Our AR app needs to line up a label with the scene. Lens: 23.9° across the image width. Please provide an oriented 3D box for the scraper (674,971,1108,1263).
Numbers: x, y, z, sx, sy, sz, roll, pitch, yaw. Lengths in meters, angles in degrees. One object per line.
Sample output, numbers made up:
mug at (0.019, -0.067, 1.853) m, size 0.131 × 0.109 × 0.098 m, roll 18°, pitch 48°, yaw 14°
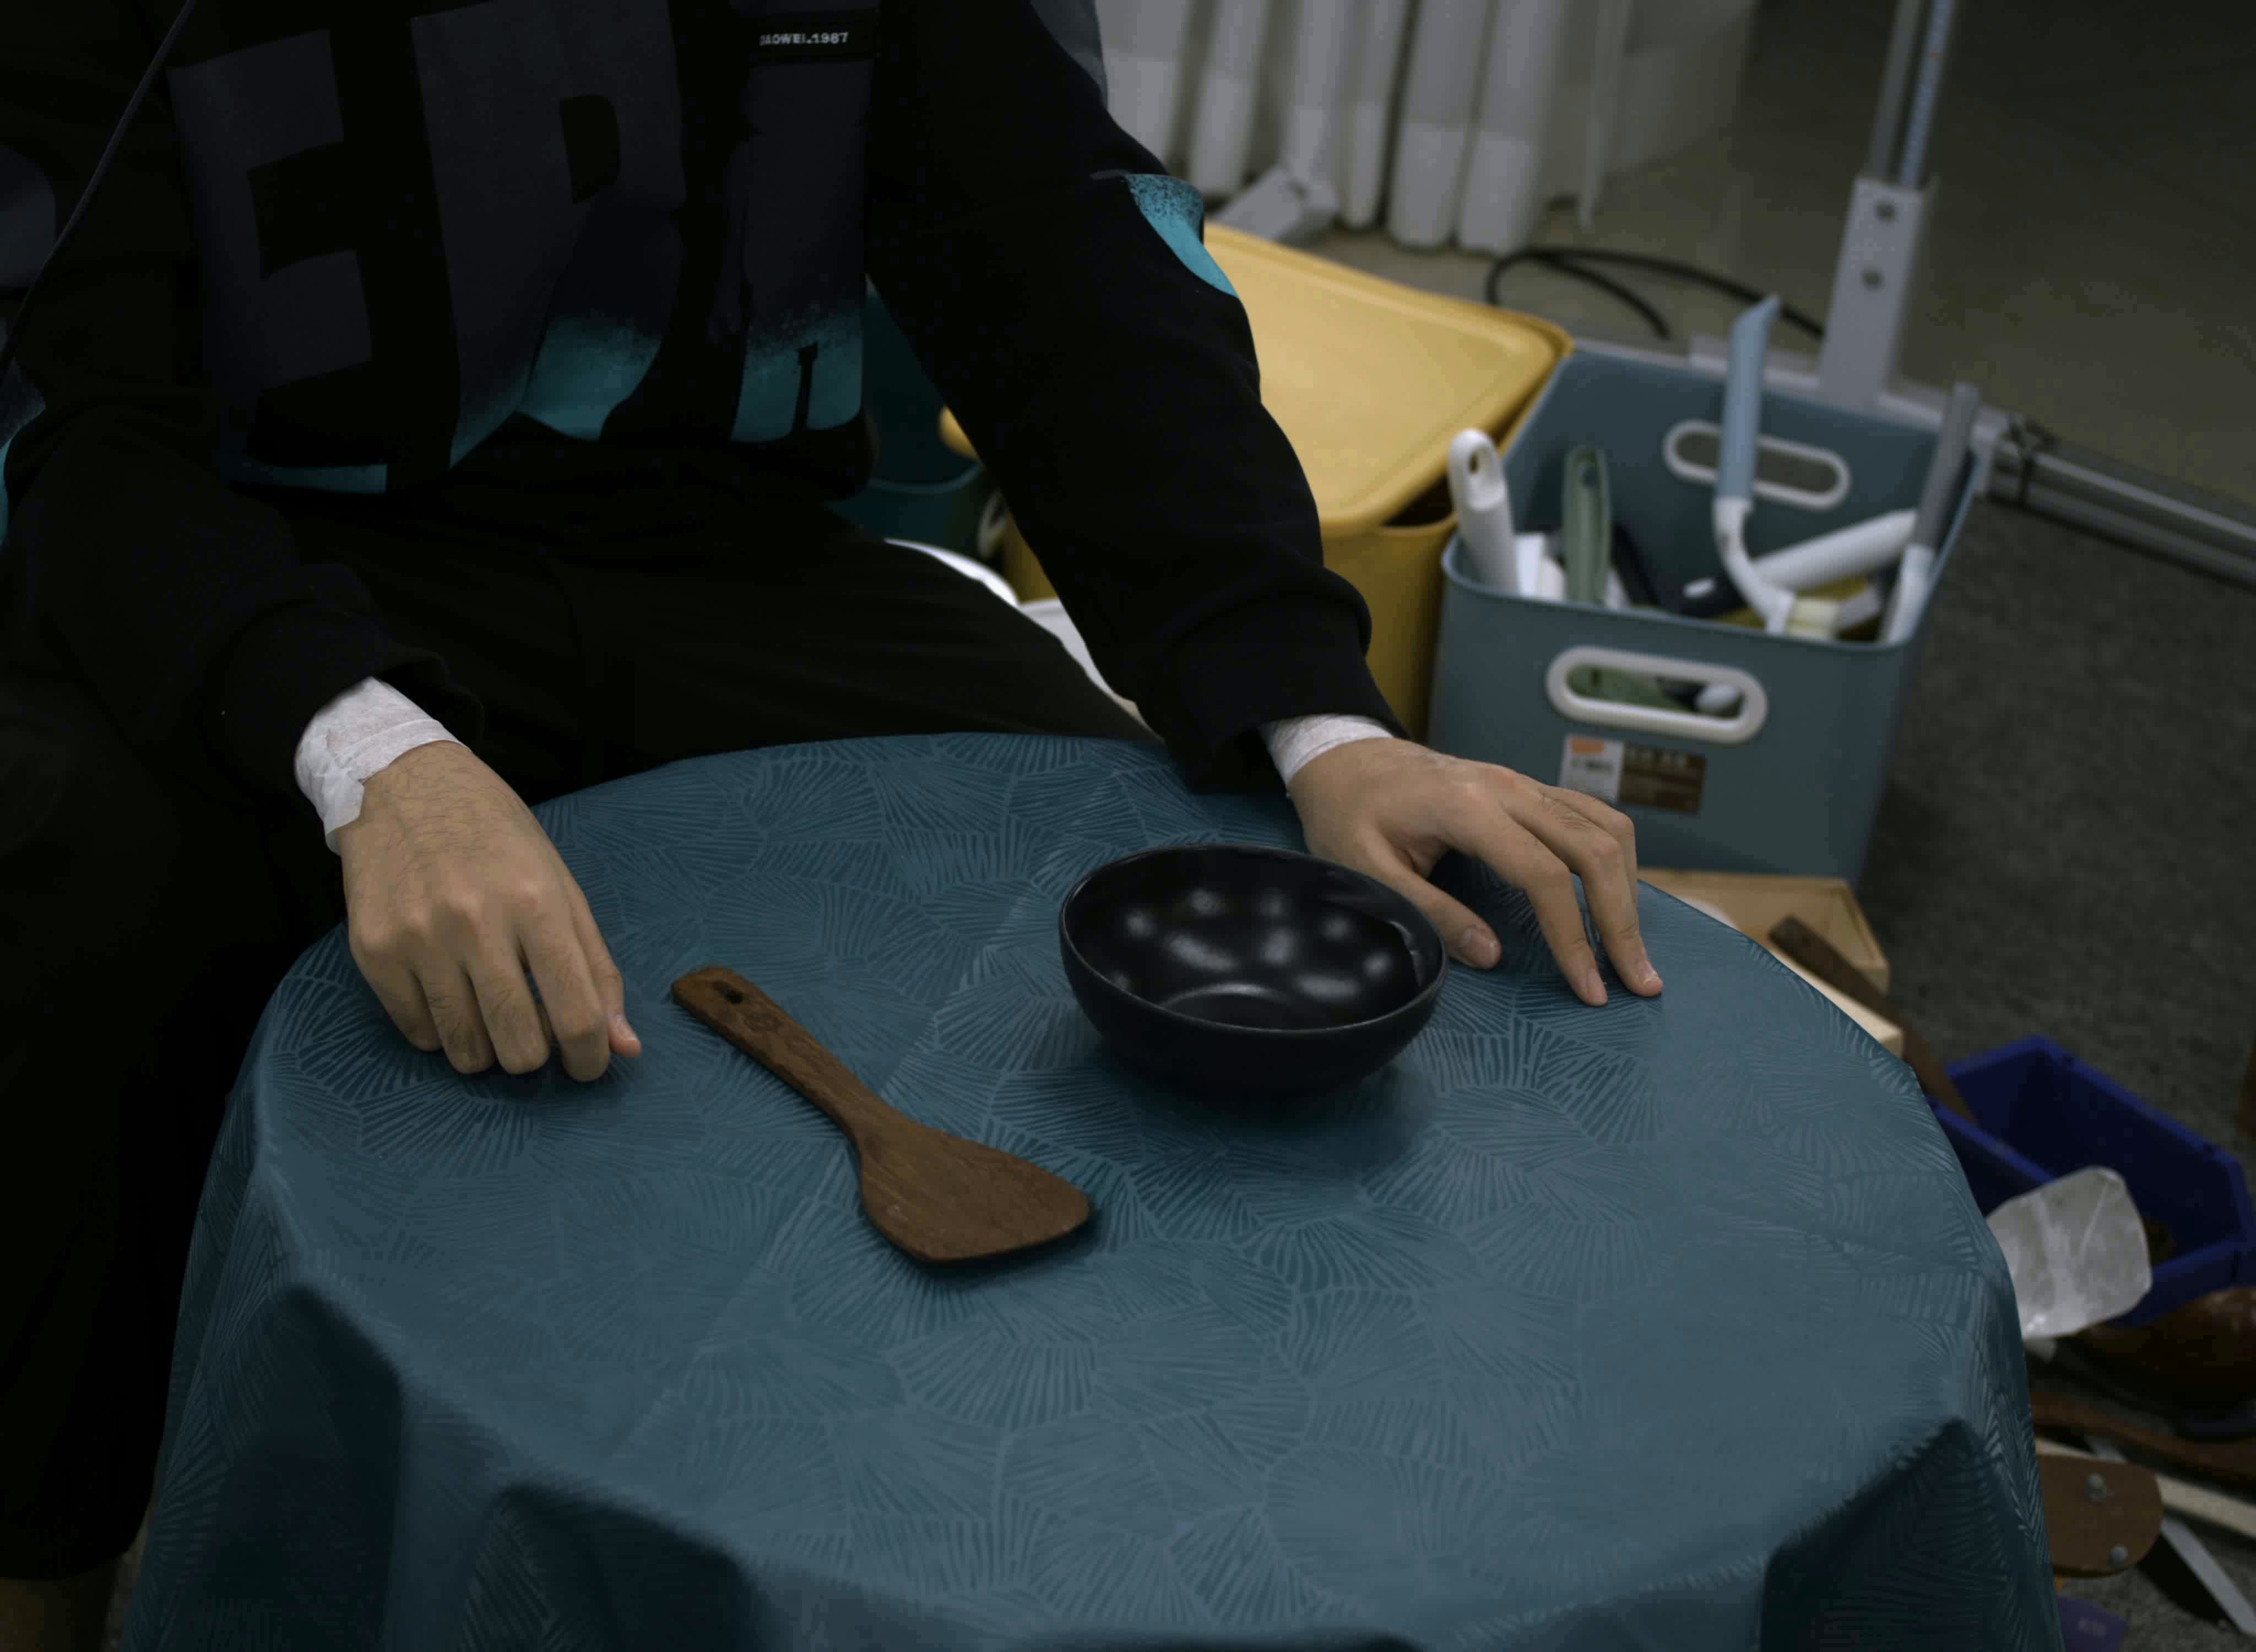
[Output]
scraper at (-0.092, 0.098, 1.822) m, size 0.075 × 0.011 × 0.213 m, roll -11°, pitch 31°, yaw -34°

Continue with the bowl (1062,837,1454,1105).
bowl at (0.044, 0.059, 1.882) m, size 0.139 × 0.049 × 0.141 m, roll 4°, pitch 29°, yaw -3°
